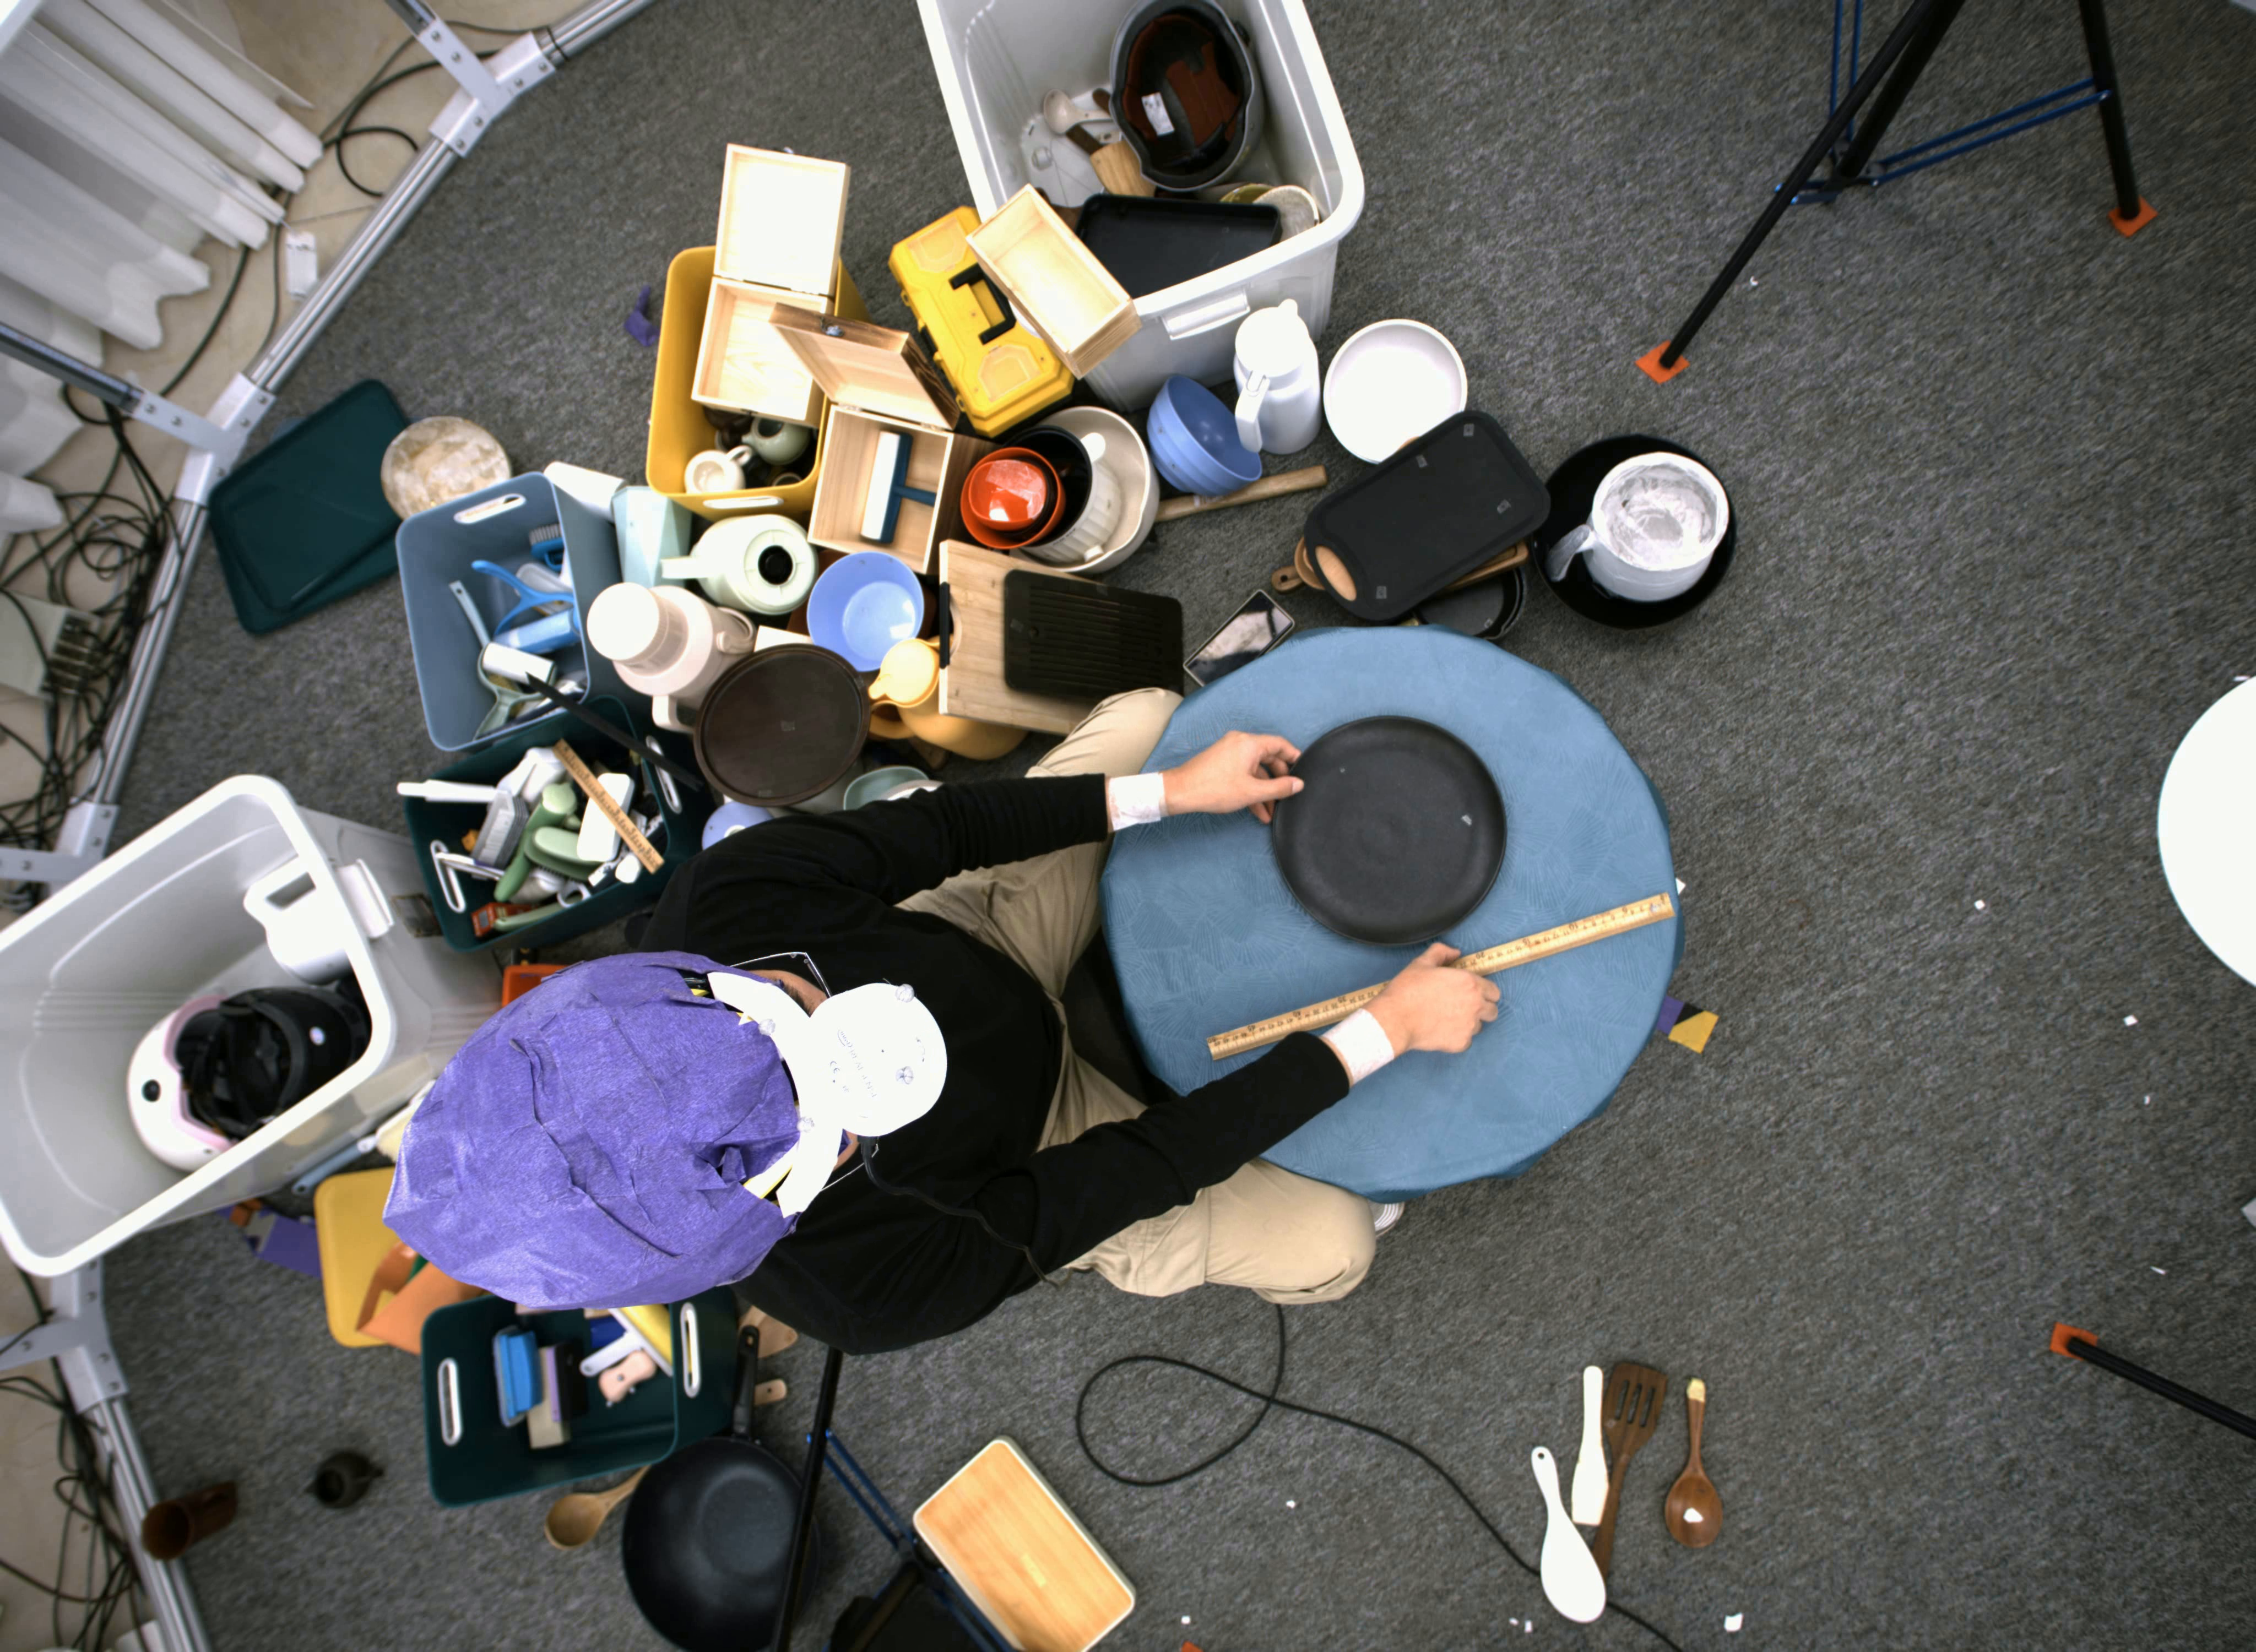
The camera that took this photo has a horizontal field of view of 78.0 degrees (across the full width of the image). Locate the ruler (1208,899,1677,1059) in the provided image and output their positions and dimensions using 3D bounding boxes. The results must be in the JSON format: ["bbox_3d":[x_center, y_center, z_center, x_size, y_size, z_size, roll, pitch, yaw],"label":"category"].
[{"bbox_3d":[0.323,0.158,1.443,0.503,0.006,0.026,-18,79,9],"label":"ruler"}]

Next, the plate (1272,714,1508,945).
[{"bbox_3d":[0.274,0.003,1.451,0.245,0.023,0.243,-1,87,11],"label":"plate"}]
